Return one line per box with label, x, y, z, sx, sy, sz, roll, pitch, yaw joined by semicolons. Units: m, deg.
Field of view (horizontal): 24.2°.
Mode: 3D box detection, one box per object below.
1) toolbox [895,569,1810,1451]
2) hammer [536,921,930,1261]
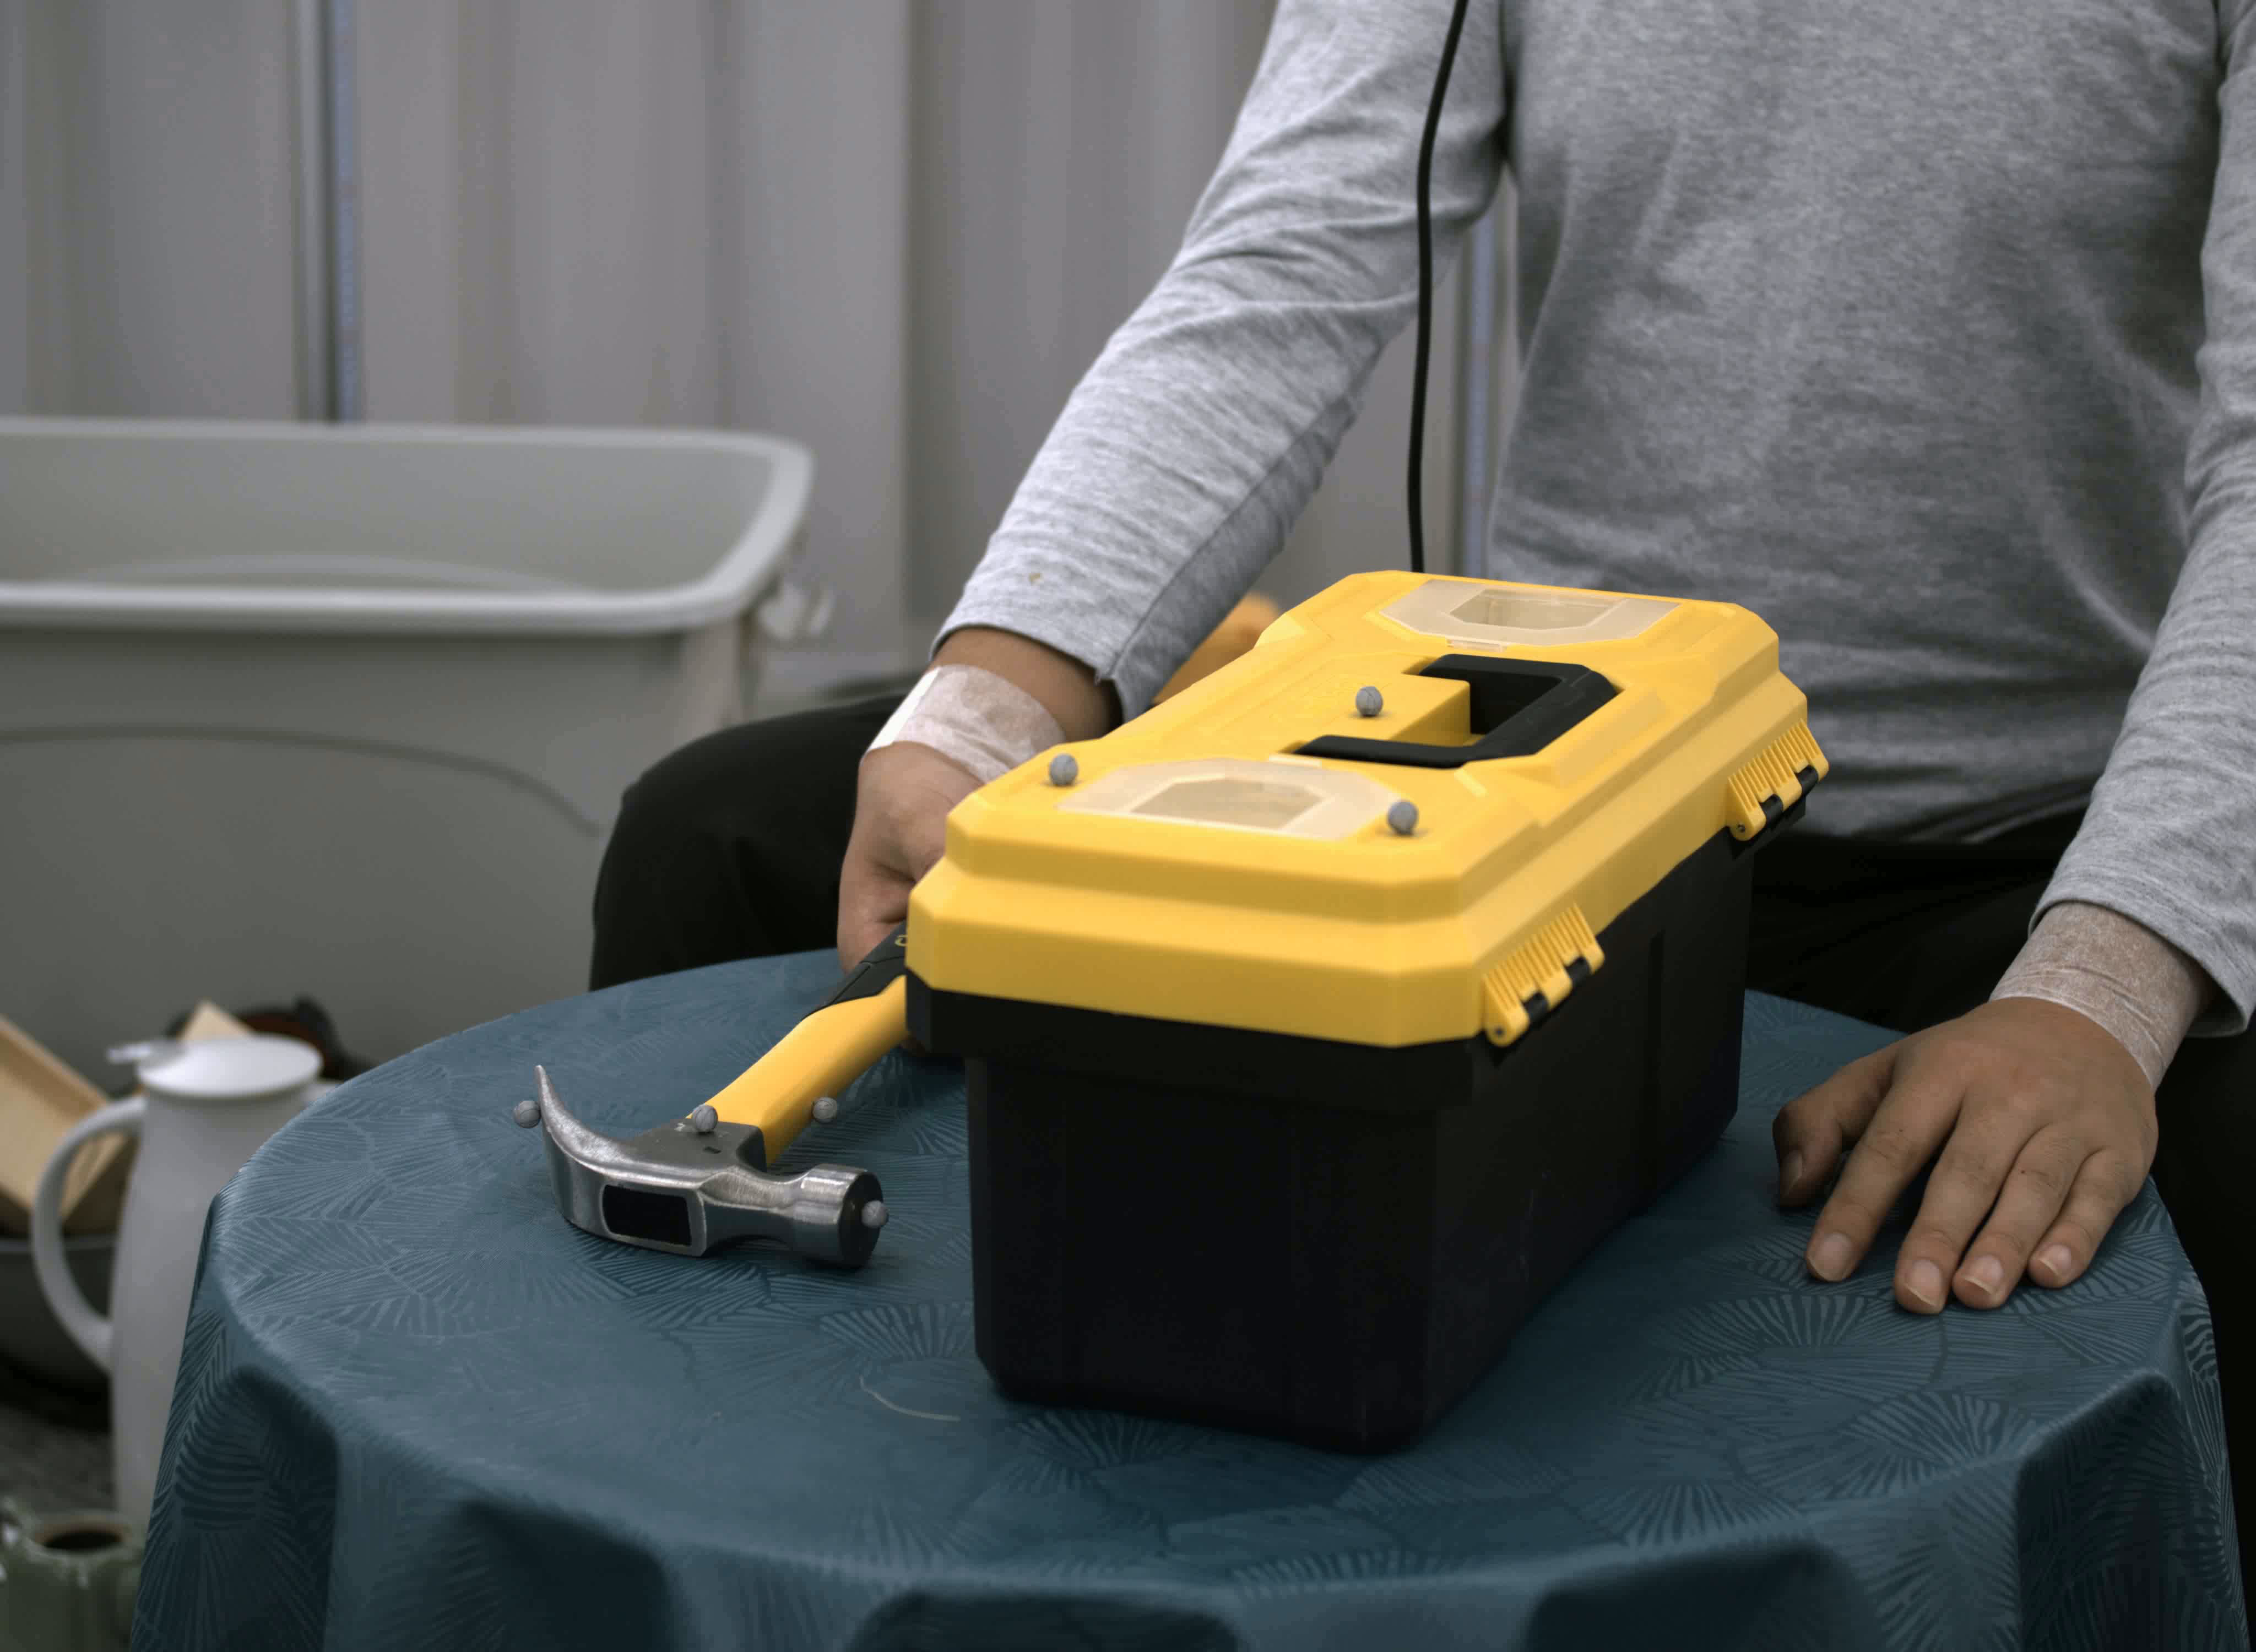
toolbox;0.075;0.044;1.549;0.179;0.174;0.352;7;17;22
hammer;-0.078;0.058;1.707;0.130;0.032;0.338;4;21;23
